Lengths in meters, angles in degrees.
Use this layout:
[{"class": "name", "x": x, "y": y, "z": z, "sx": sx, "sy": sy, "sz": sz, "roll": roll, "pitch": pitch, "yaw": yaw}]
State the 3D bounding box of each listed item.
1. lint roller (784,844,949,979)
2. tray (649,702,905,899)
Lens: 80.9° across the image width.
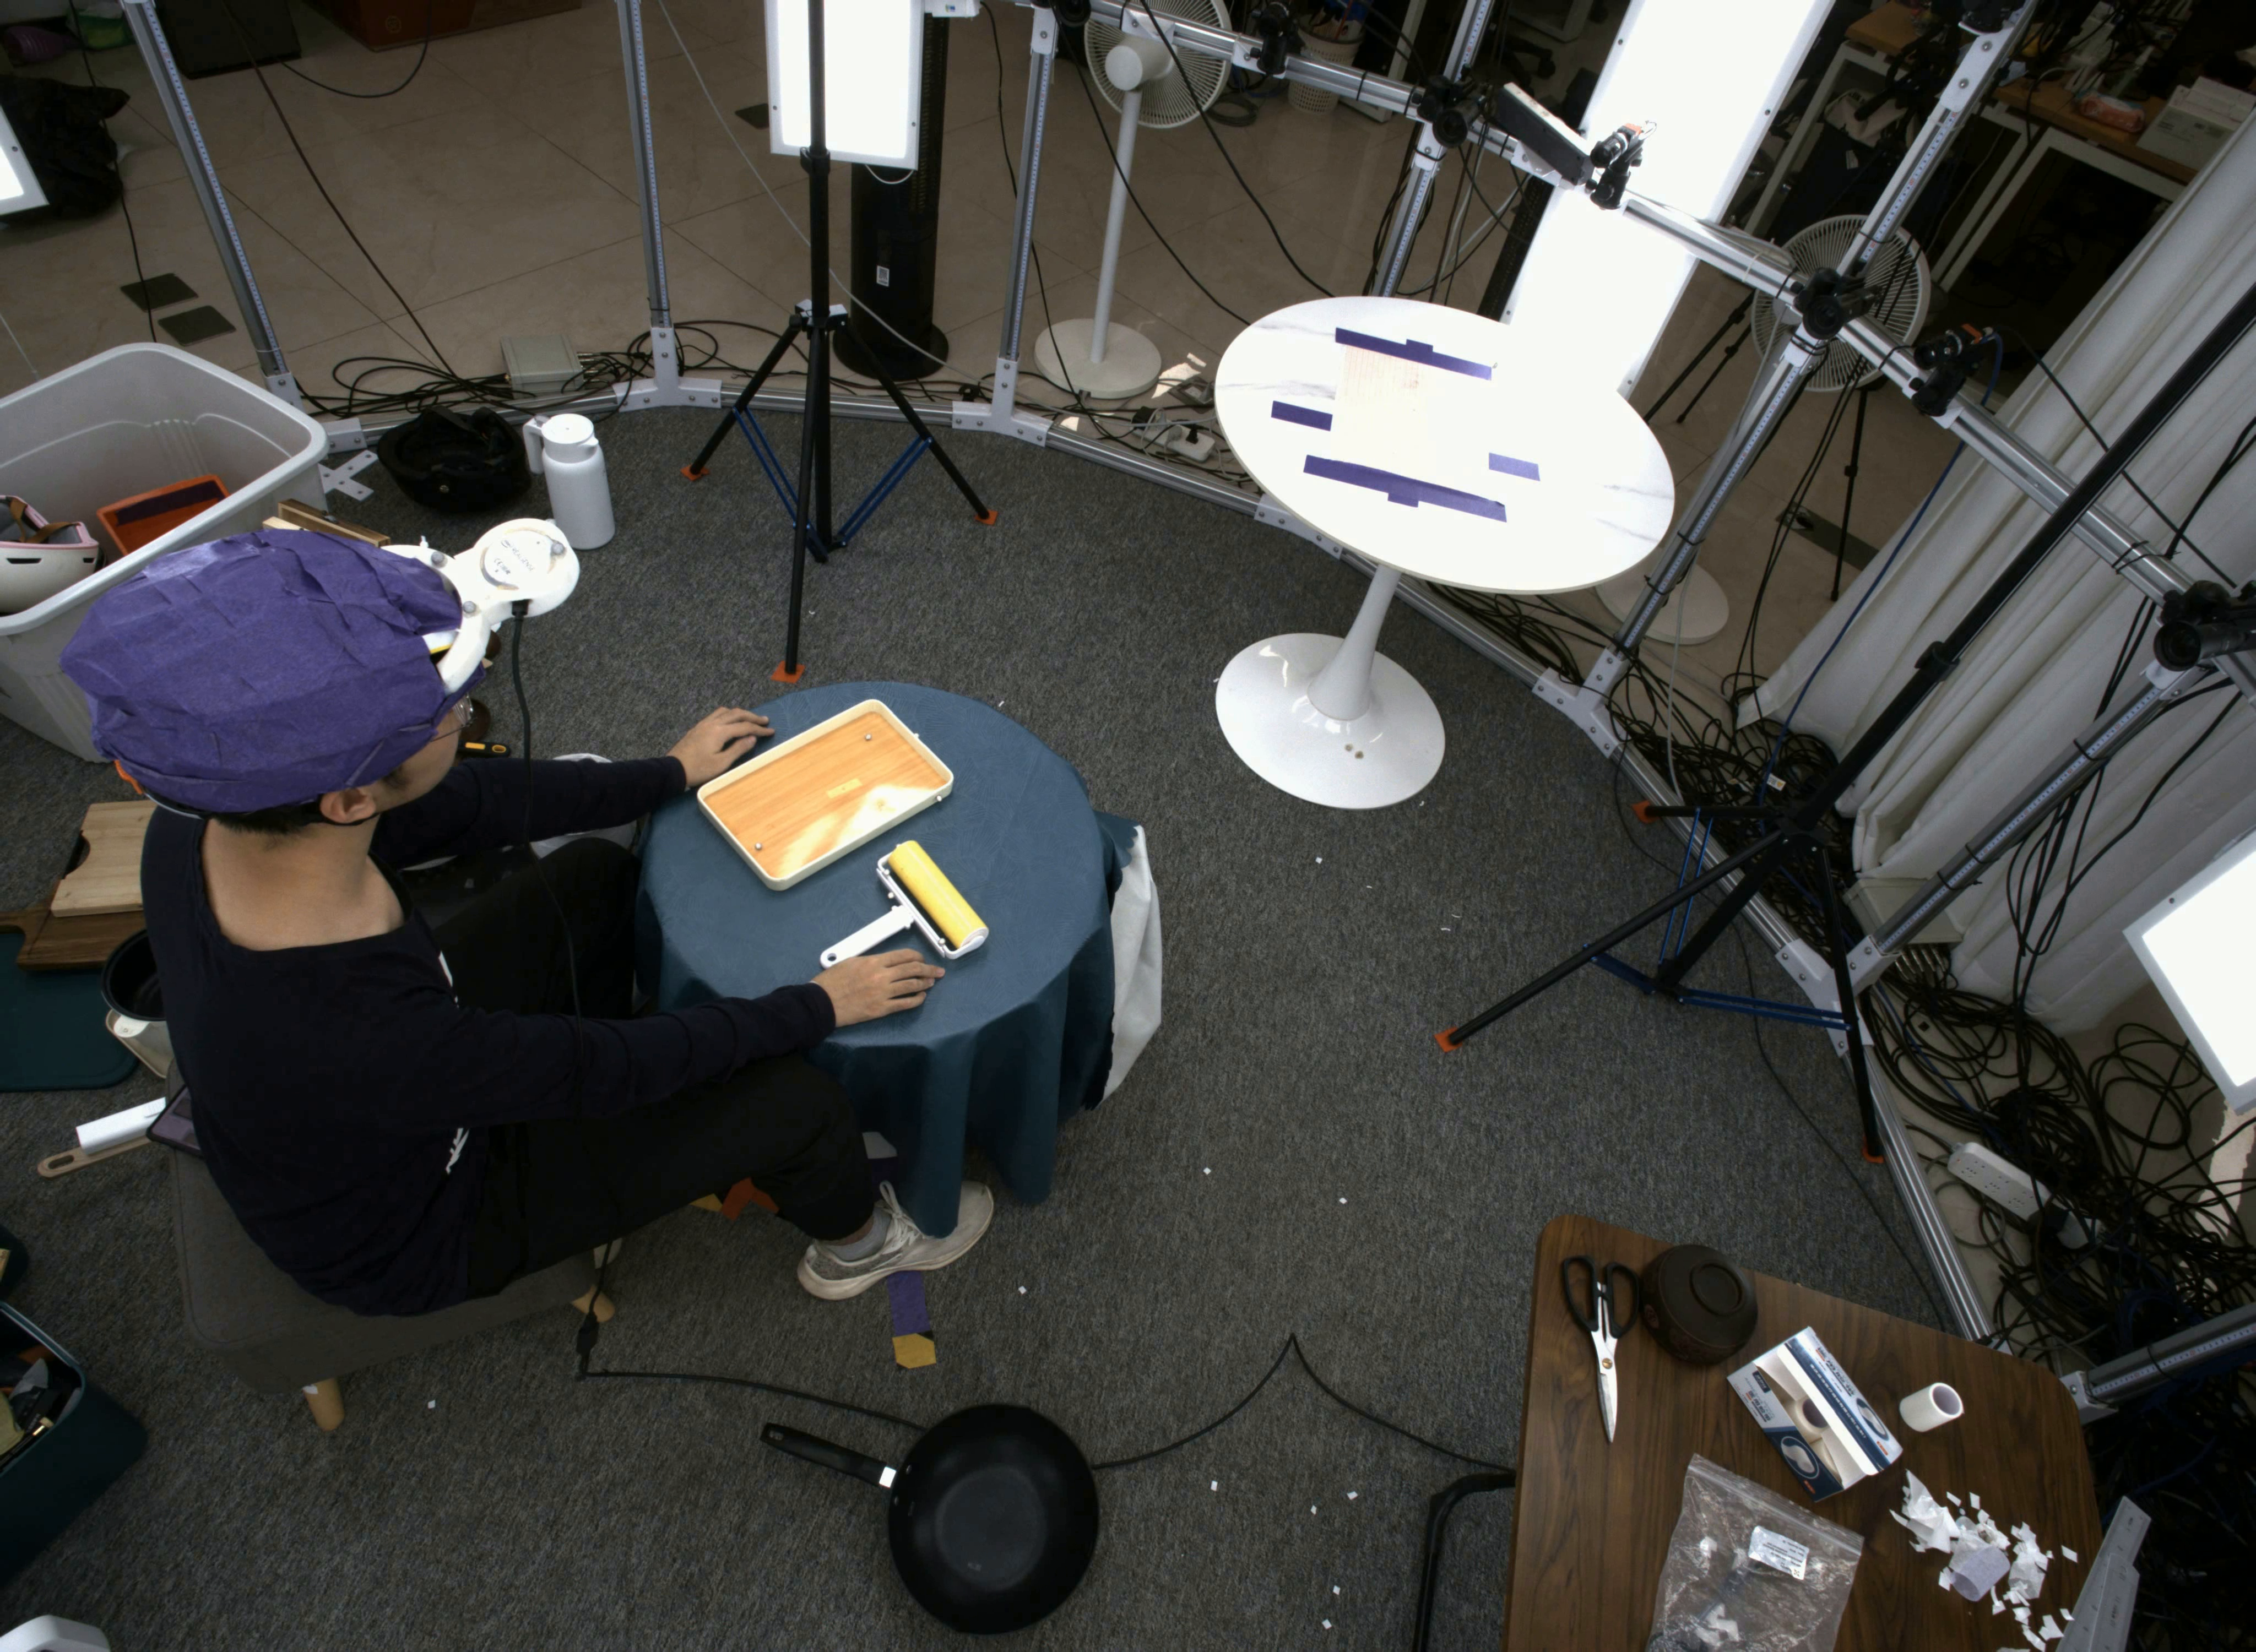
[{"class": "lint roller", "x": -0.349, "y": 0.123, "z": 1.631, "sx": 0.193, "sy": 0.052, "sz": 0.170, "roll": -33, "pitch": 66, "yaw": -35}, {"class": "tray", "x": -0.467, "y": -0.041, "z": 1.737, "sx": 0.187, "sy": 0.028, "sz": 0.301, "roll": 41, "pitch": 56, "yaw": 18}]
